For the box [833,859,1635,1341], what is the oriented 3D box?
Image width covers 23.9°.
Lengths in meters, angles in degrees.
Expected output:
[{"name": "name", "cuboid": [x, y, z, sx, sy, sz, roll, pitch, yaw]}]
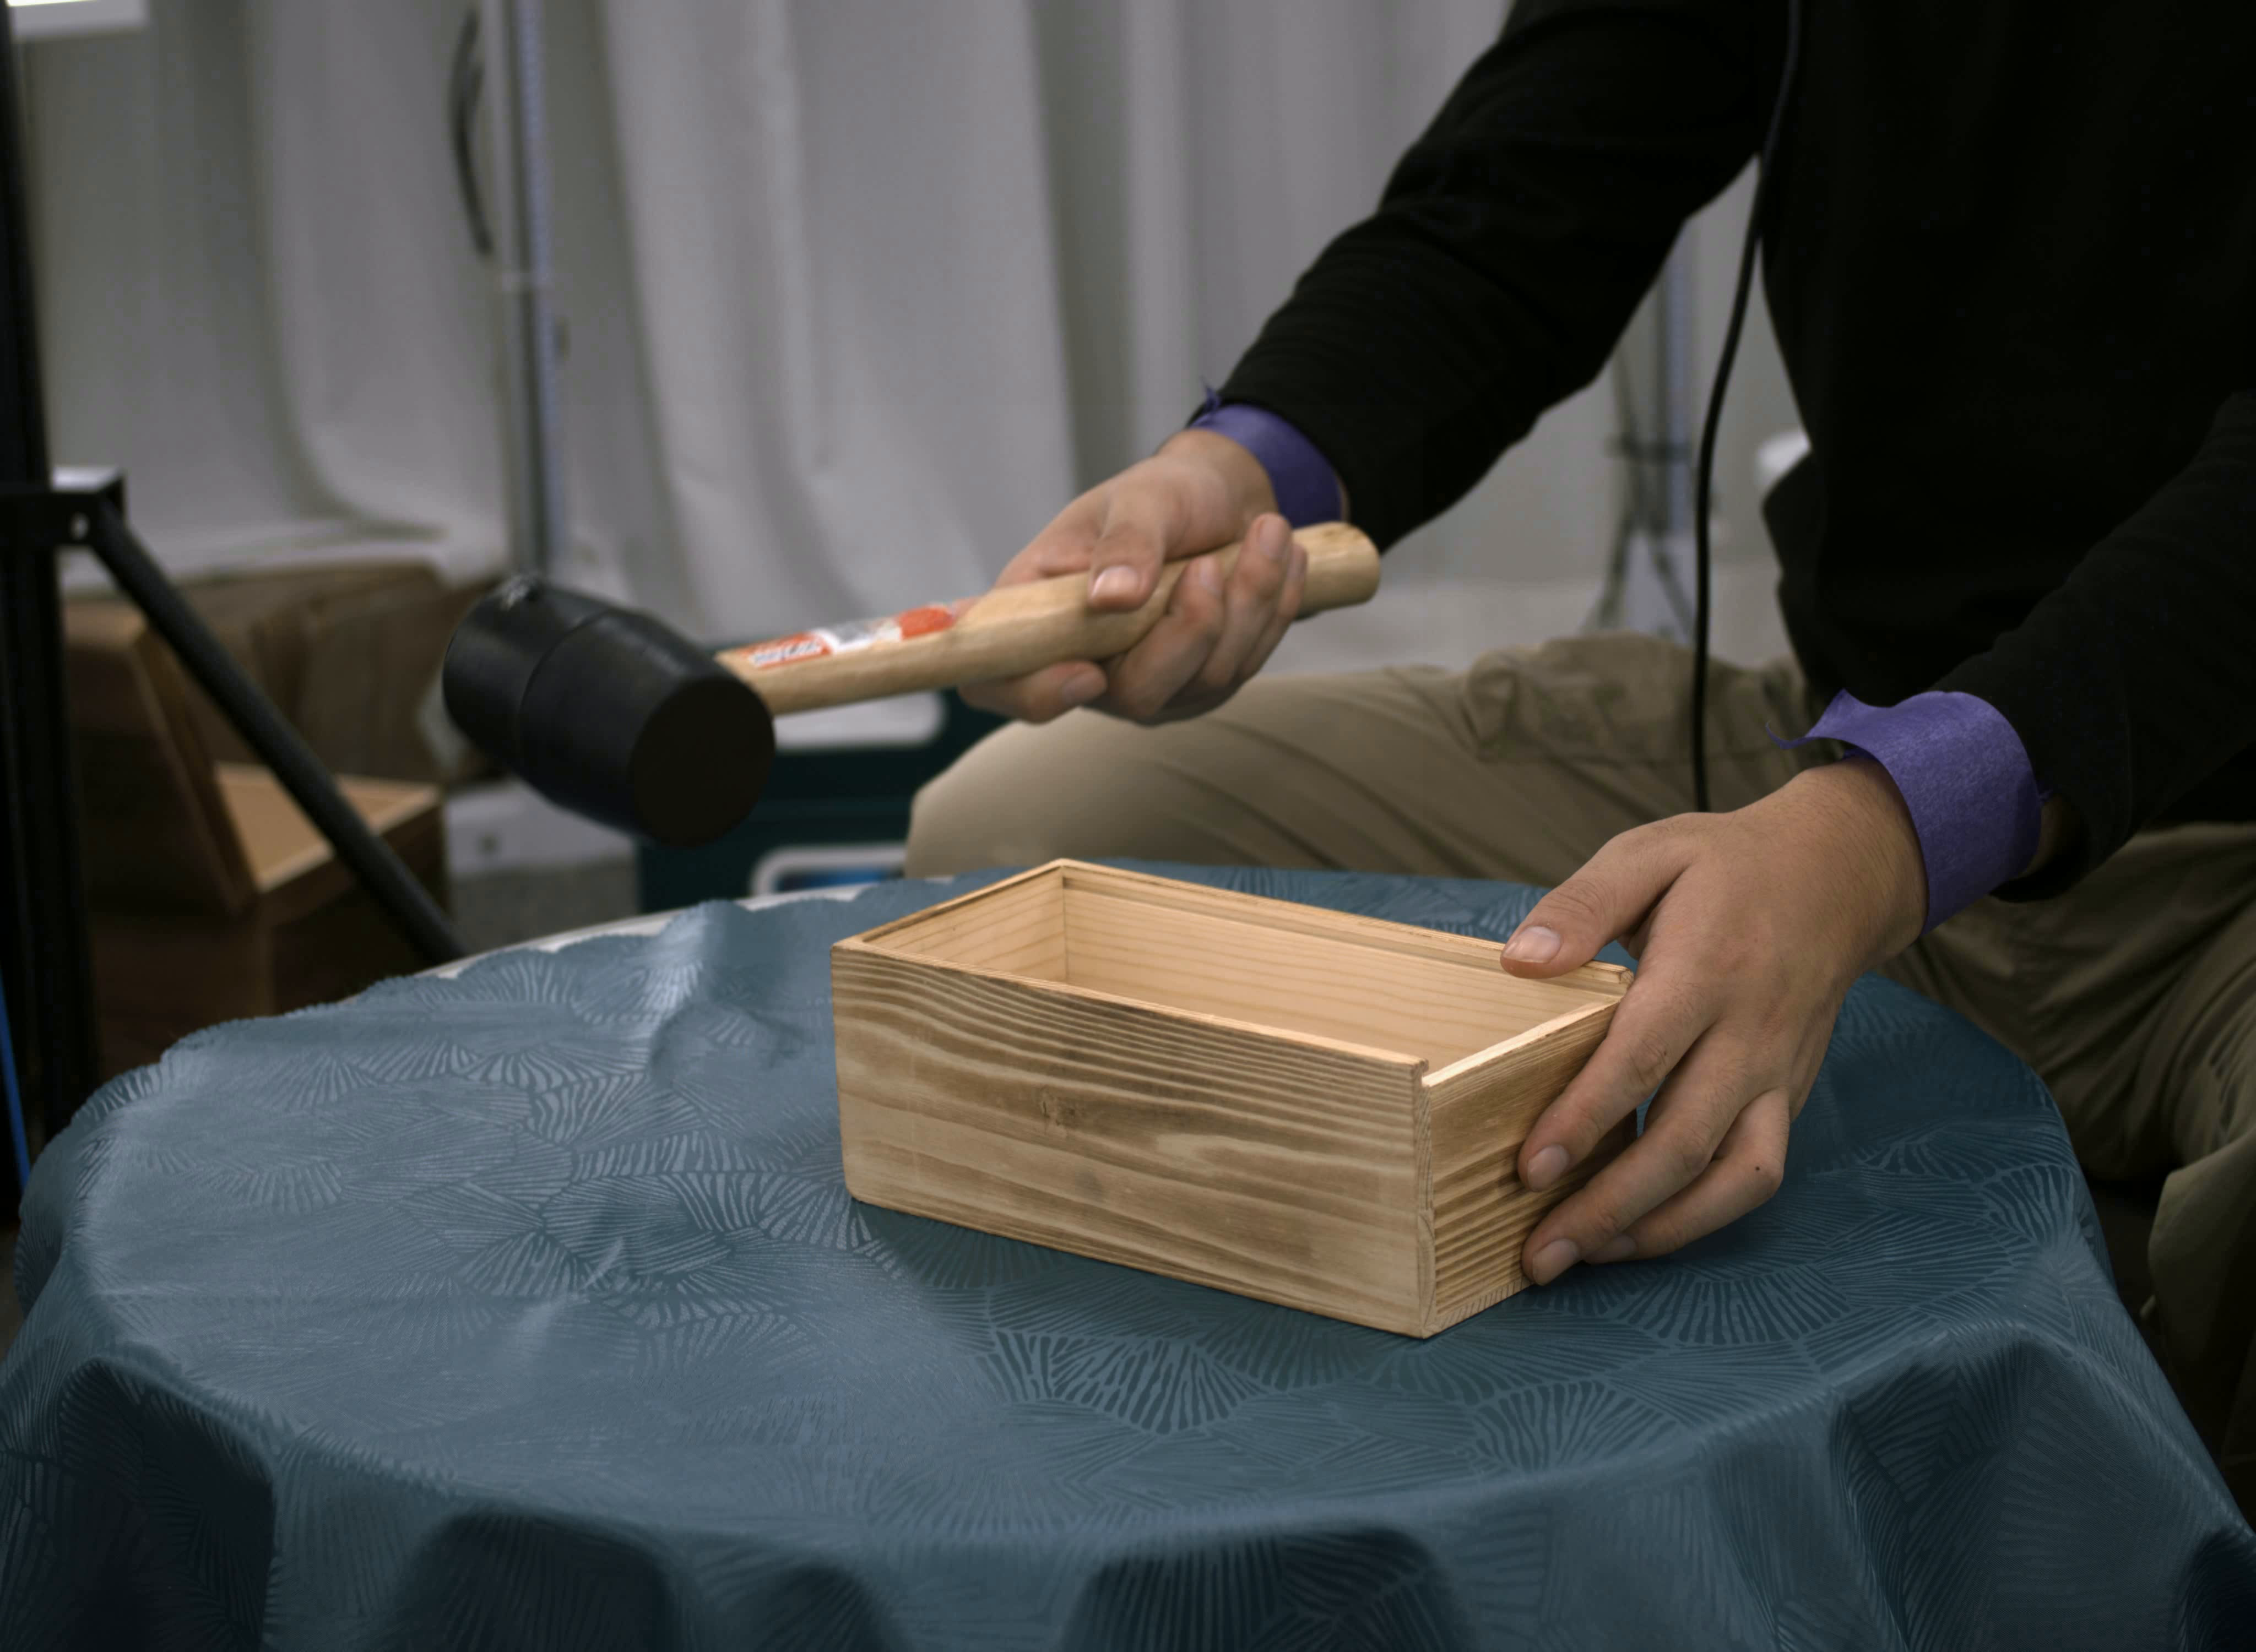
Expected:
[{"name": "box", "cuboid": [0.029, 0.075, 1.521, 0.216, 0.080, 0.105, 11, 20, 39]}]

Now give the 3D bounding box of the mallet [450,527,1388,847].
[{"name": "mallet", "cuboid": [-0.050, -0.066, 1.676, 0.331, 0.064, 0.104, -15, 33, -36]}]
